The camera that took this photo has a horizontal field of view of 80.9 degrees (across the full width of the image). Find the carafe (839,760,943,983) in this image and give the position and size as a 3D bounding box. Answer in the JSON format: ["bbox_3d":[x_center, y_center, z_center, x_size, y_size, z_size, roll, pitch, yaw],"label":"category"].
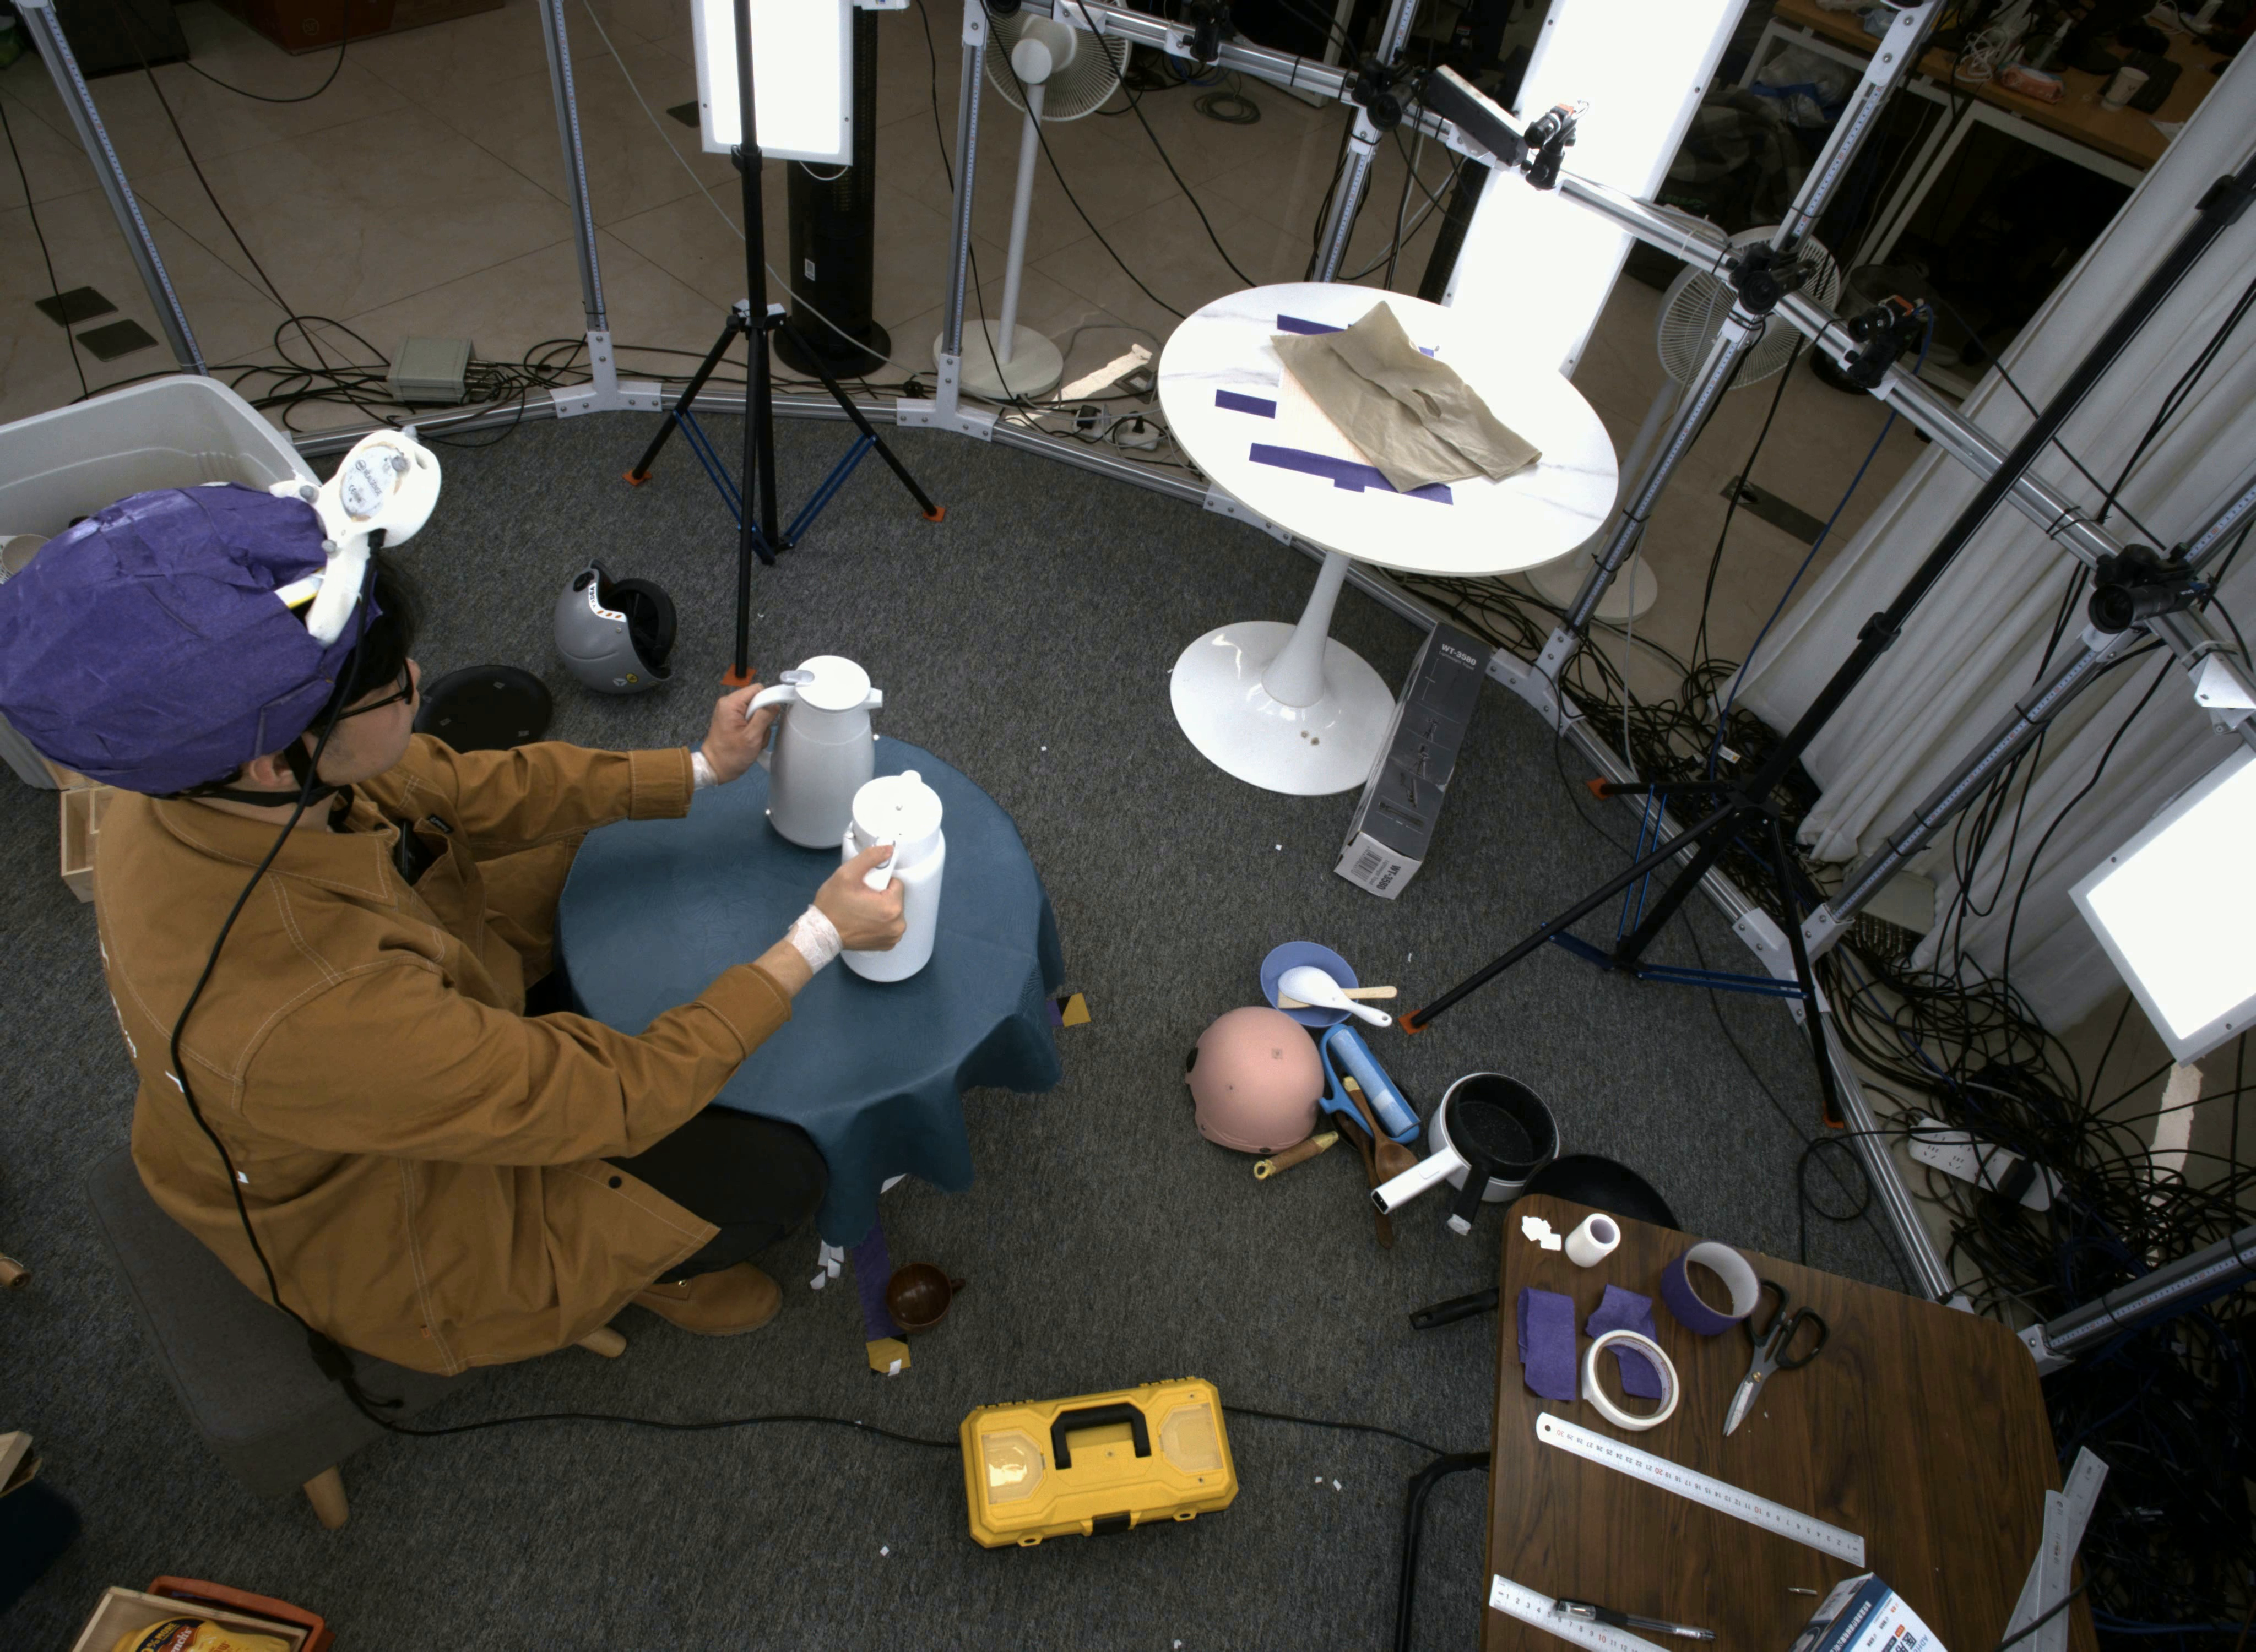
[{"bbox_3d":[-0.280,0.073,1.513,0.123,0.274,0.170,14,48,-4],"label":"carafe"}]

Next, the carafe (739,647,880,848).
[{"bbox_3d":[-0.402,-0.104,1.623,0.168,0.253,0.129,3,49,-14],"label":"carafe"}]
